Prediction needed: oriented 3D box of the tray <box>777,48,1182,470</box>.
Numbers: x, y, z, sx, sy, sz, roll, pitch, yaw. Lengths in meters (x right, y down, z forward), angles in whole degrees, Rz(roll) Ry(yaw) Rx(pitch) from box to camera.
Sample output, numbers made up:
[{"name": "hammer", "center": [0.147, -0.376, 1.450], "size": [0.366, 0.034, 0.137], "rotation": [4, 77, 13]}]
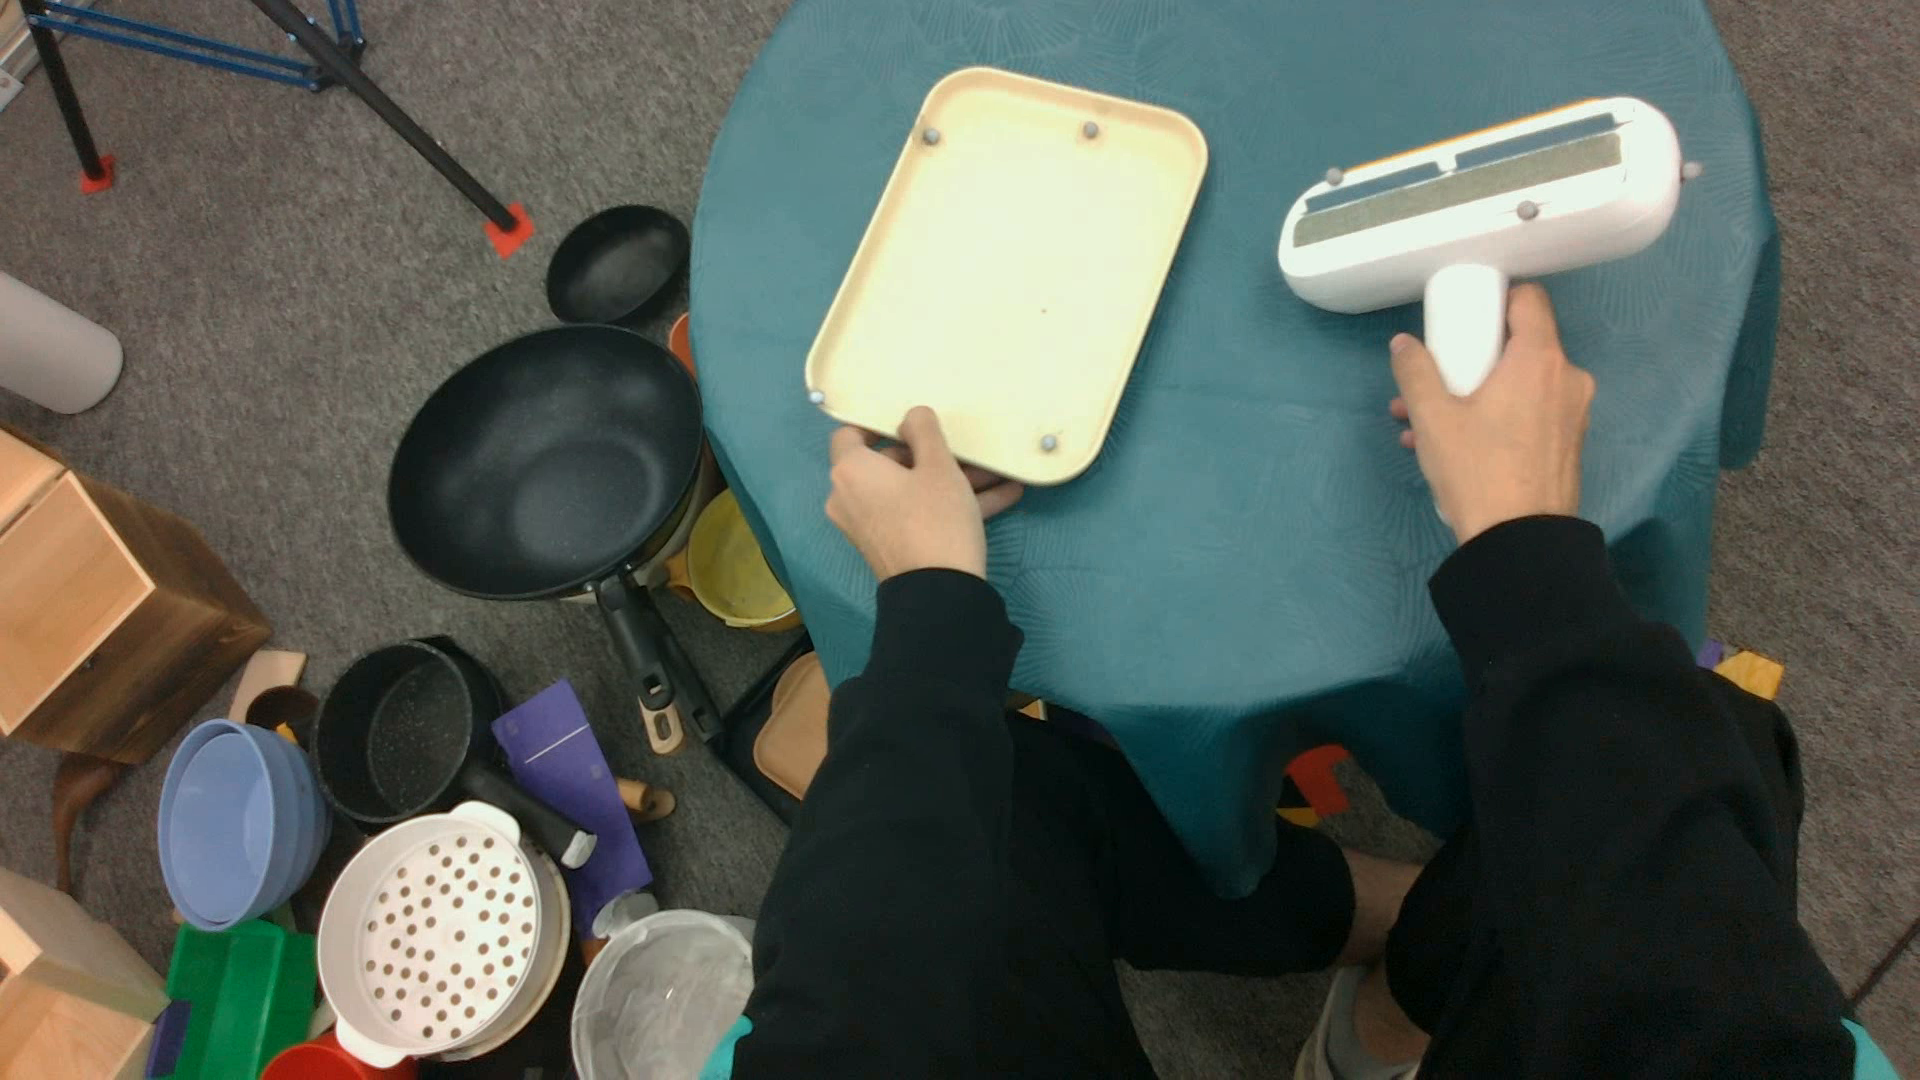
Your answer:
[{"name": "tray", "center": [0.014, -0.160, 0.767], "size": [0.171, 0.017, 0.240], "rotation": [20, 73, 9]}]

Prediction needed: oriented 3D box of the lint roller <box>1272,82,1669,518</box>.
[{"name": "lint roller", "center": [0.233, -0.109, 0.661], "size": [0.192, 0.074, 0.192], "rotation": [2, 77, 45]}]
